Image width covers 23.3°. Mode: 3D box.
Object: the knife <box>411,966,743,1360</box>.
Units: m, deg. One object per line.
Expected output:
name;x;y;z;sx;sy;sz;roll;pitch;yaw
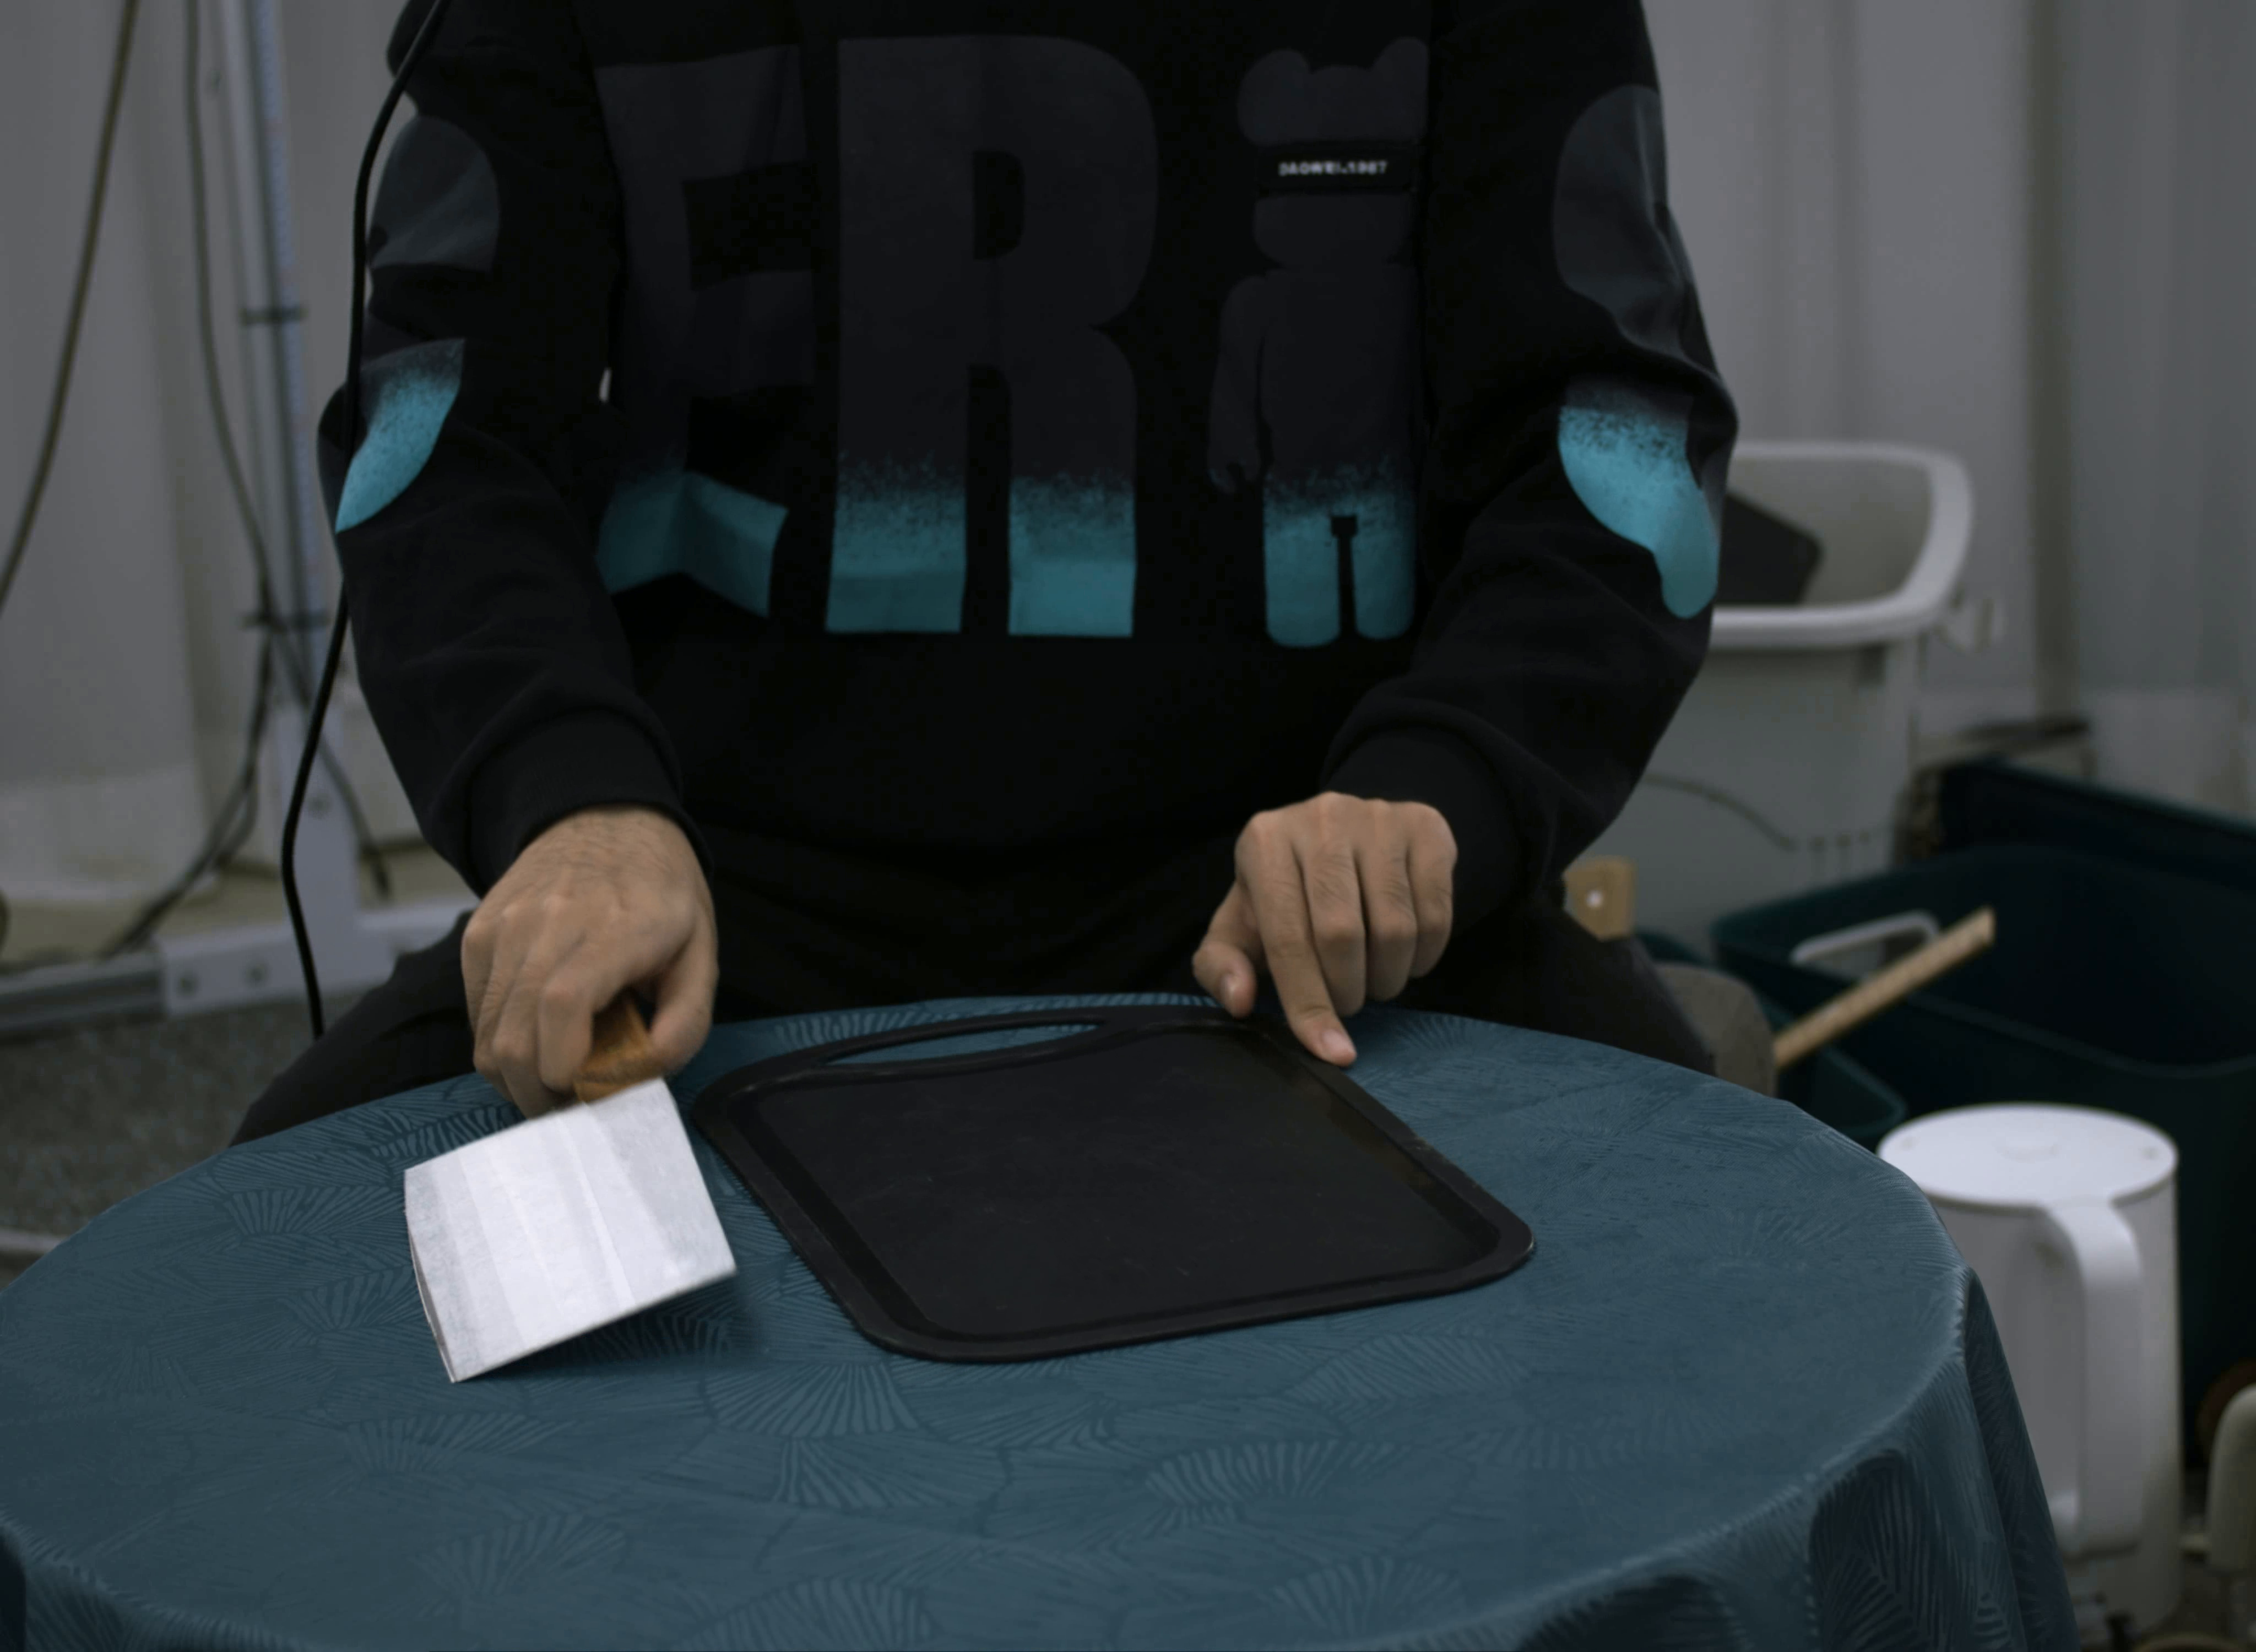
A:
knife;-0.181;0.106;1.729;0.092;0.021;0.308;-20;18;-5

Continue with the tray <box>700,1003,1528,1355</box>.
tray;-0.015;0.105;1.740;0.210;0.010;0.328;-7;16;-15
